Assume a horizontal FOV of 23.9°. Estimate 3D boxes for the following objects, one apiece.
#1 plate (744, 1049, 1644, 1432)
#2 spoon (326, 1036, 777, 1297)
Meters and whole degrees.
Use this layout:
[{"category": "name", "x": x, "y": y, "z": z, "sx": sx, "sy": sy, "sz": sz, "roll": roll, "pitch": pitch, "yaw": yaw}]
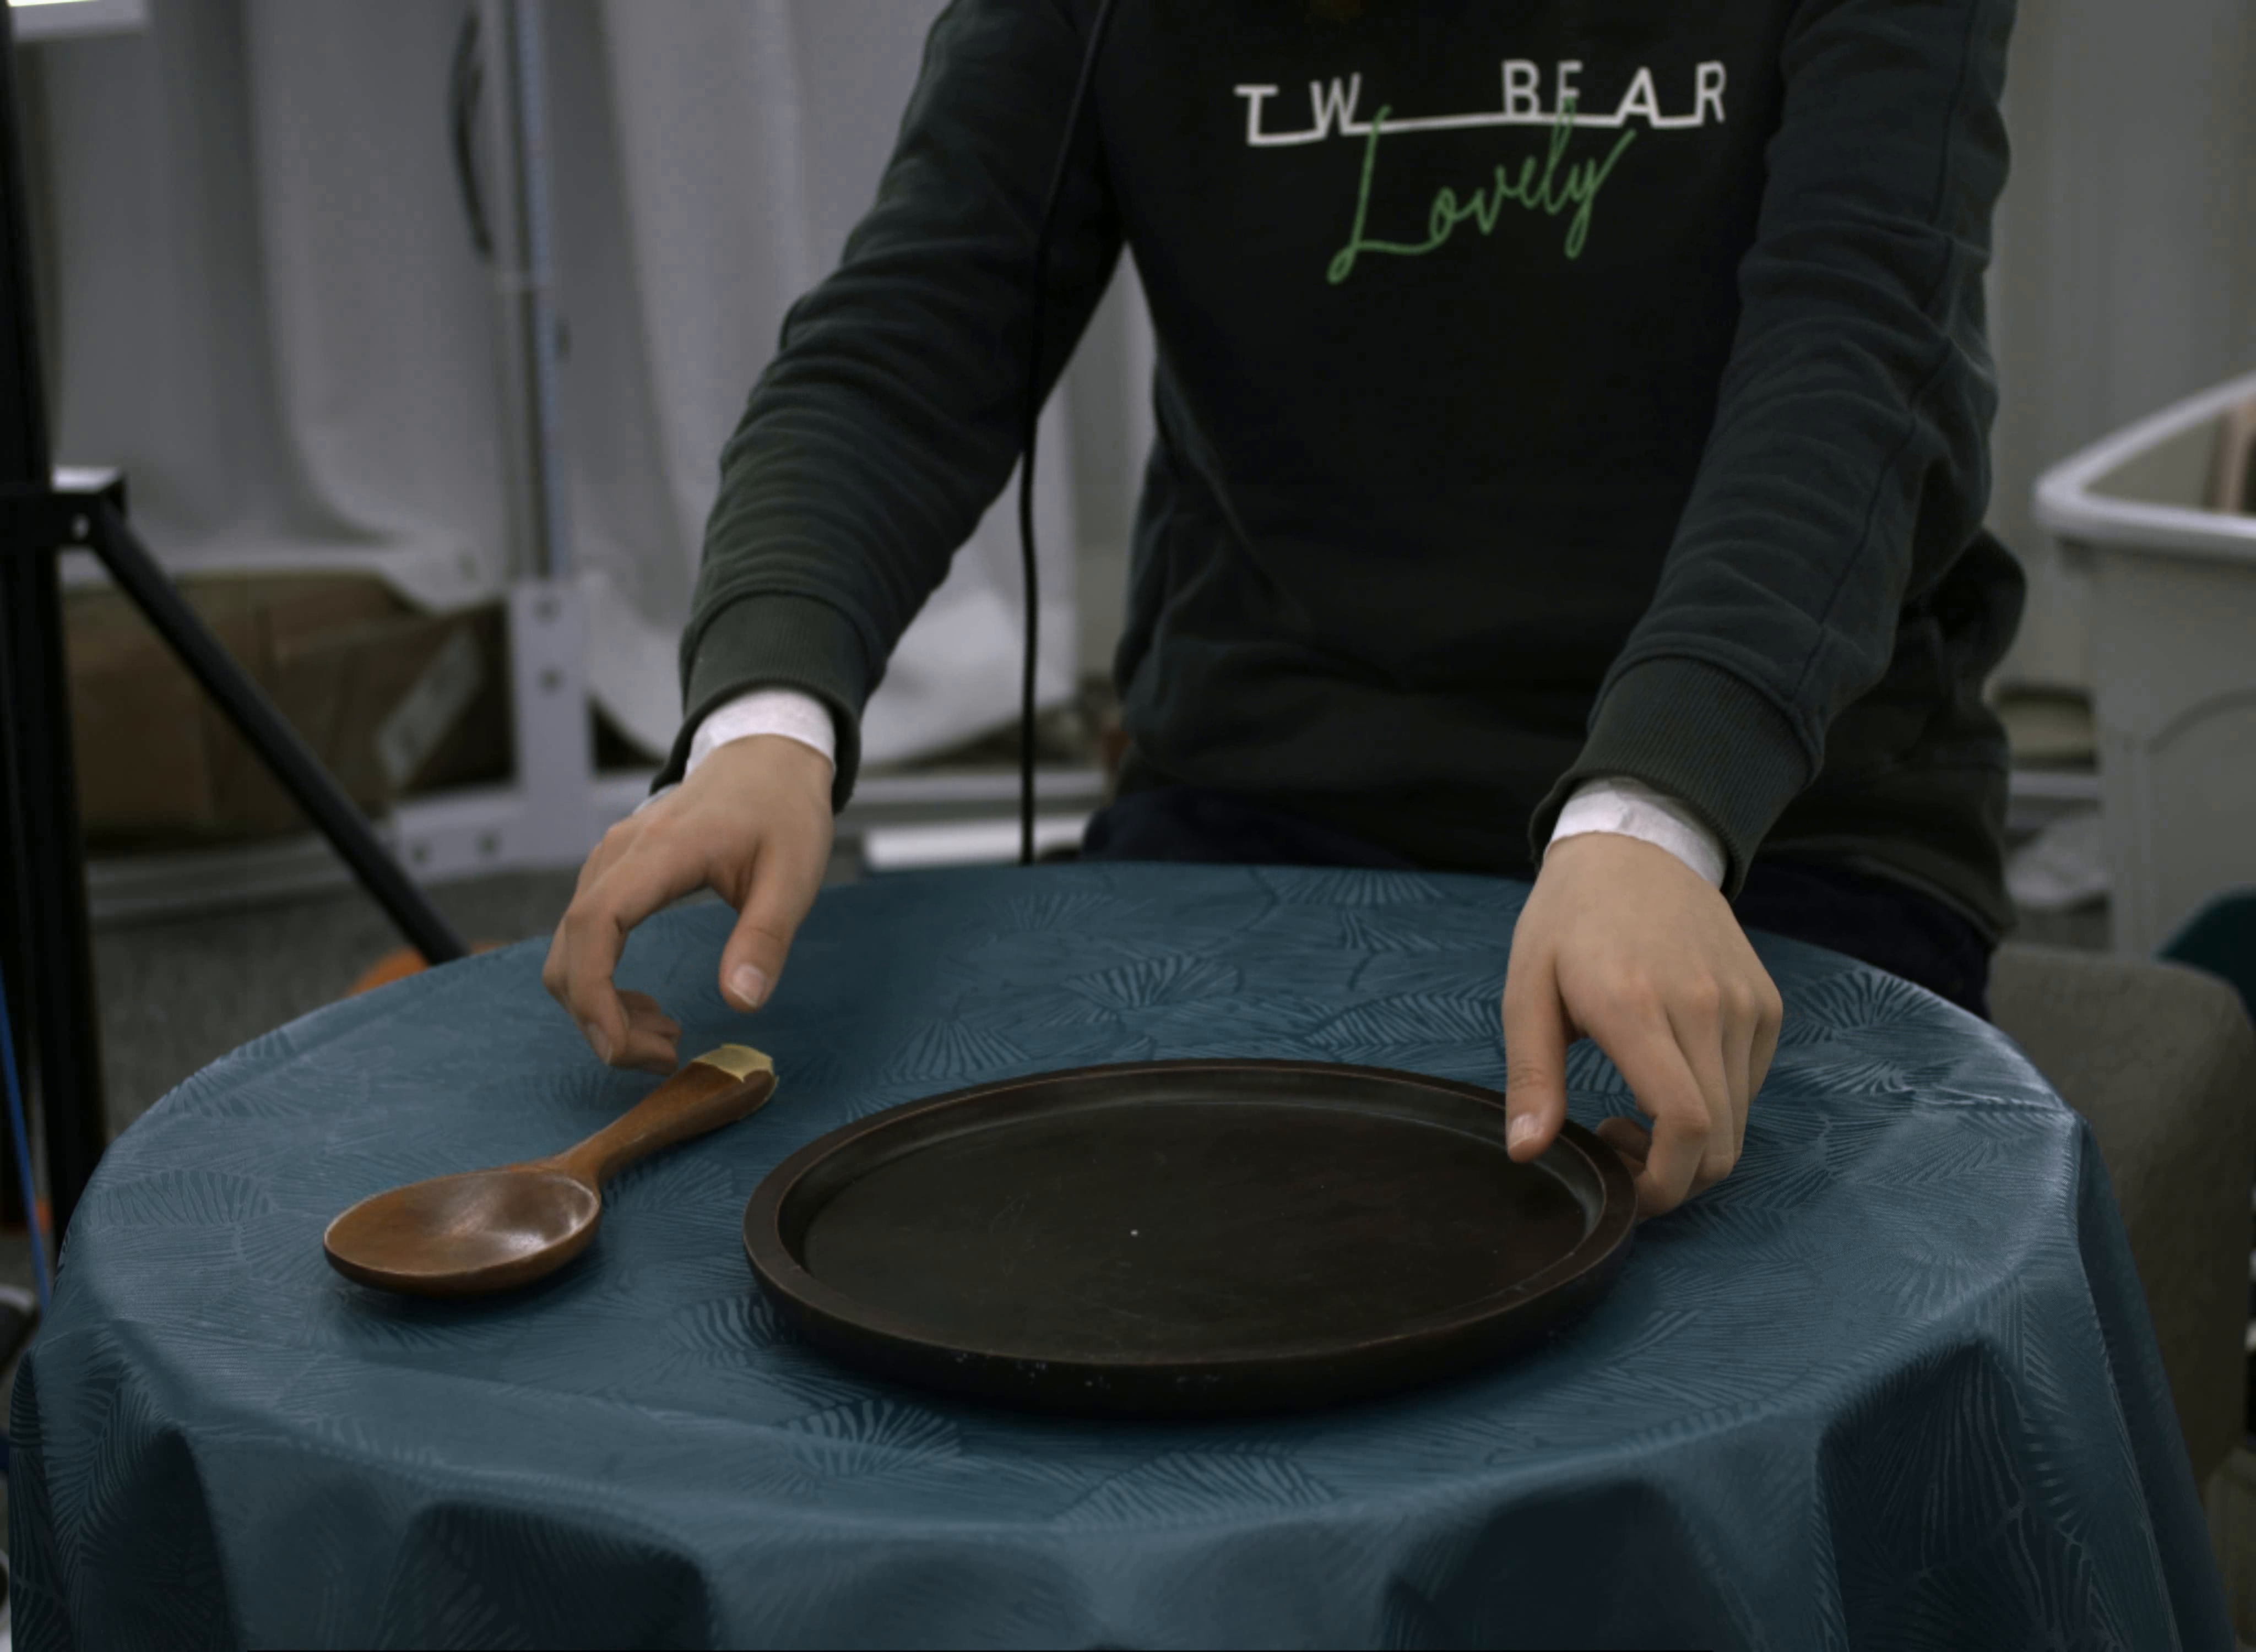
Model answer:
[{"category": "plate", "x": 0.019, "y": 0.115, "z": 1.489, "sx": 0.253, "sy": 0.029, "sz": 0.256, "roll": -3, "pitch": 17, "yaw": -1}, {"category": "spoon", "x": -0.161, "y": 0.102, "z": 1.575, "sx": 0.076, "sy": 0.017, "sz": 0.212, "roll": 5, "pitch": 18, "yaw": 25}]
